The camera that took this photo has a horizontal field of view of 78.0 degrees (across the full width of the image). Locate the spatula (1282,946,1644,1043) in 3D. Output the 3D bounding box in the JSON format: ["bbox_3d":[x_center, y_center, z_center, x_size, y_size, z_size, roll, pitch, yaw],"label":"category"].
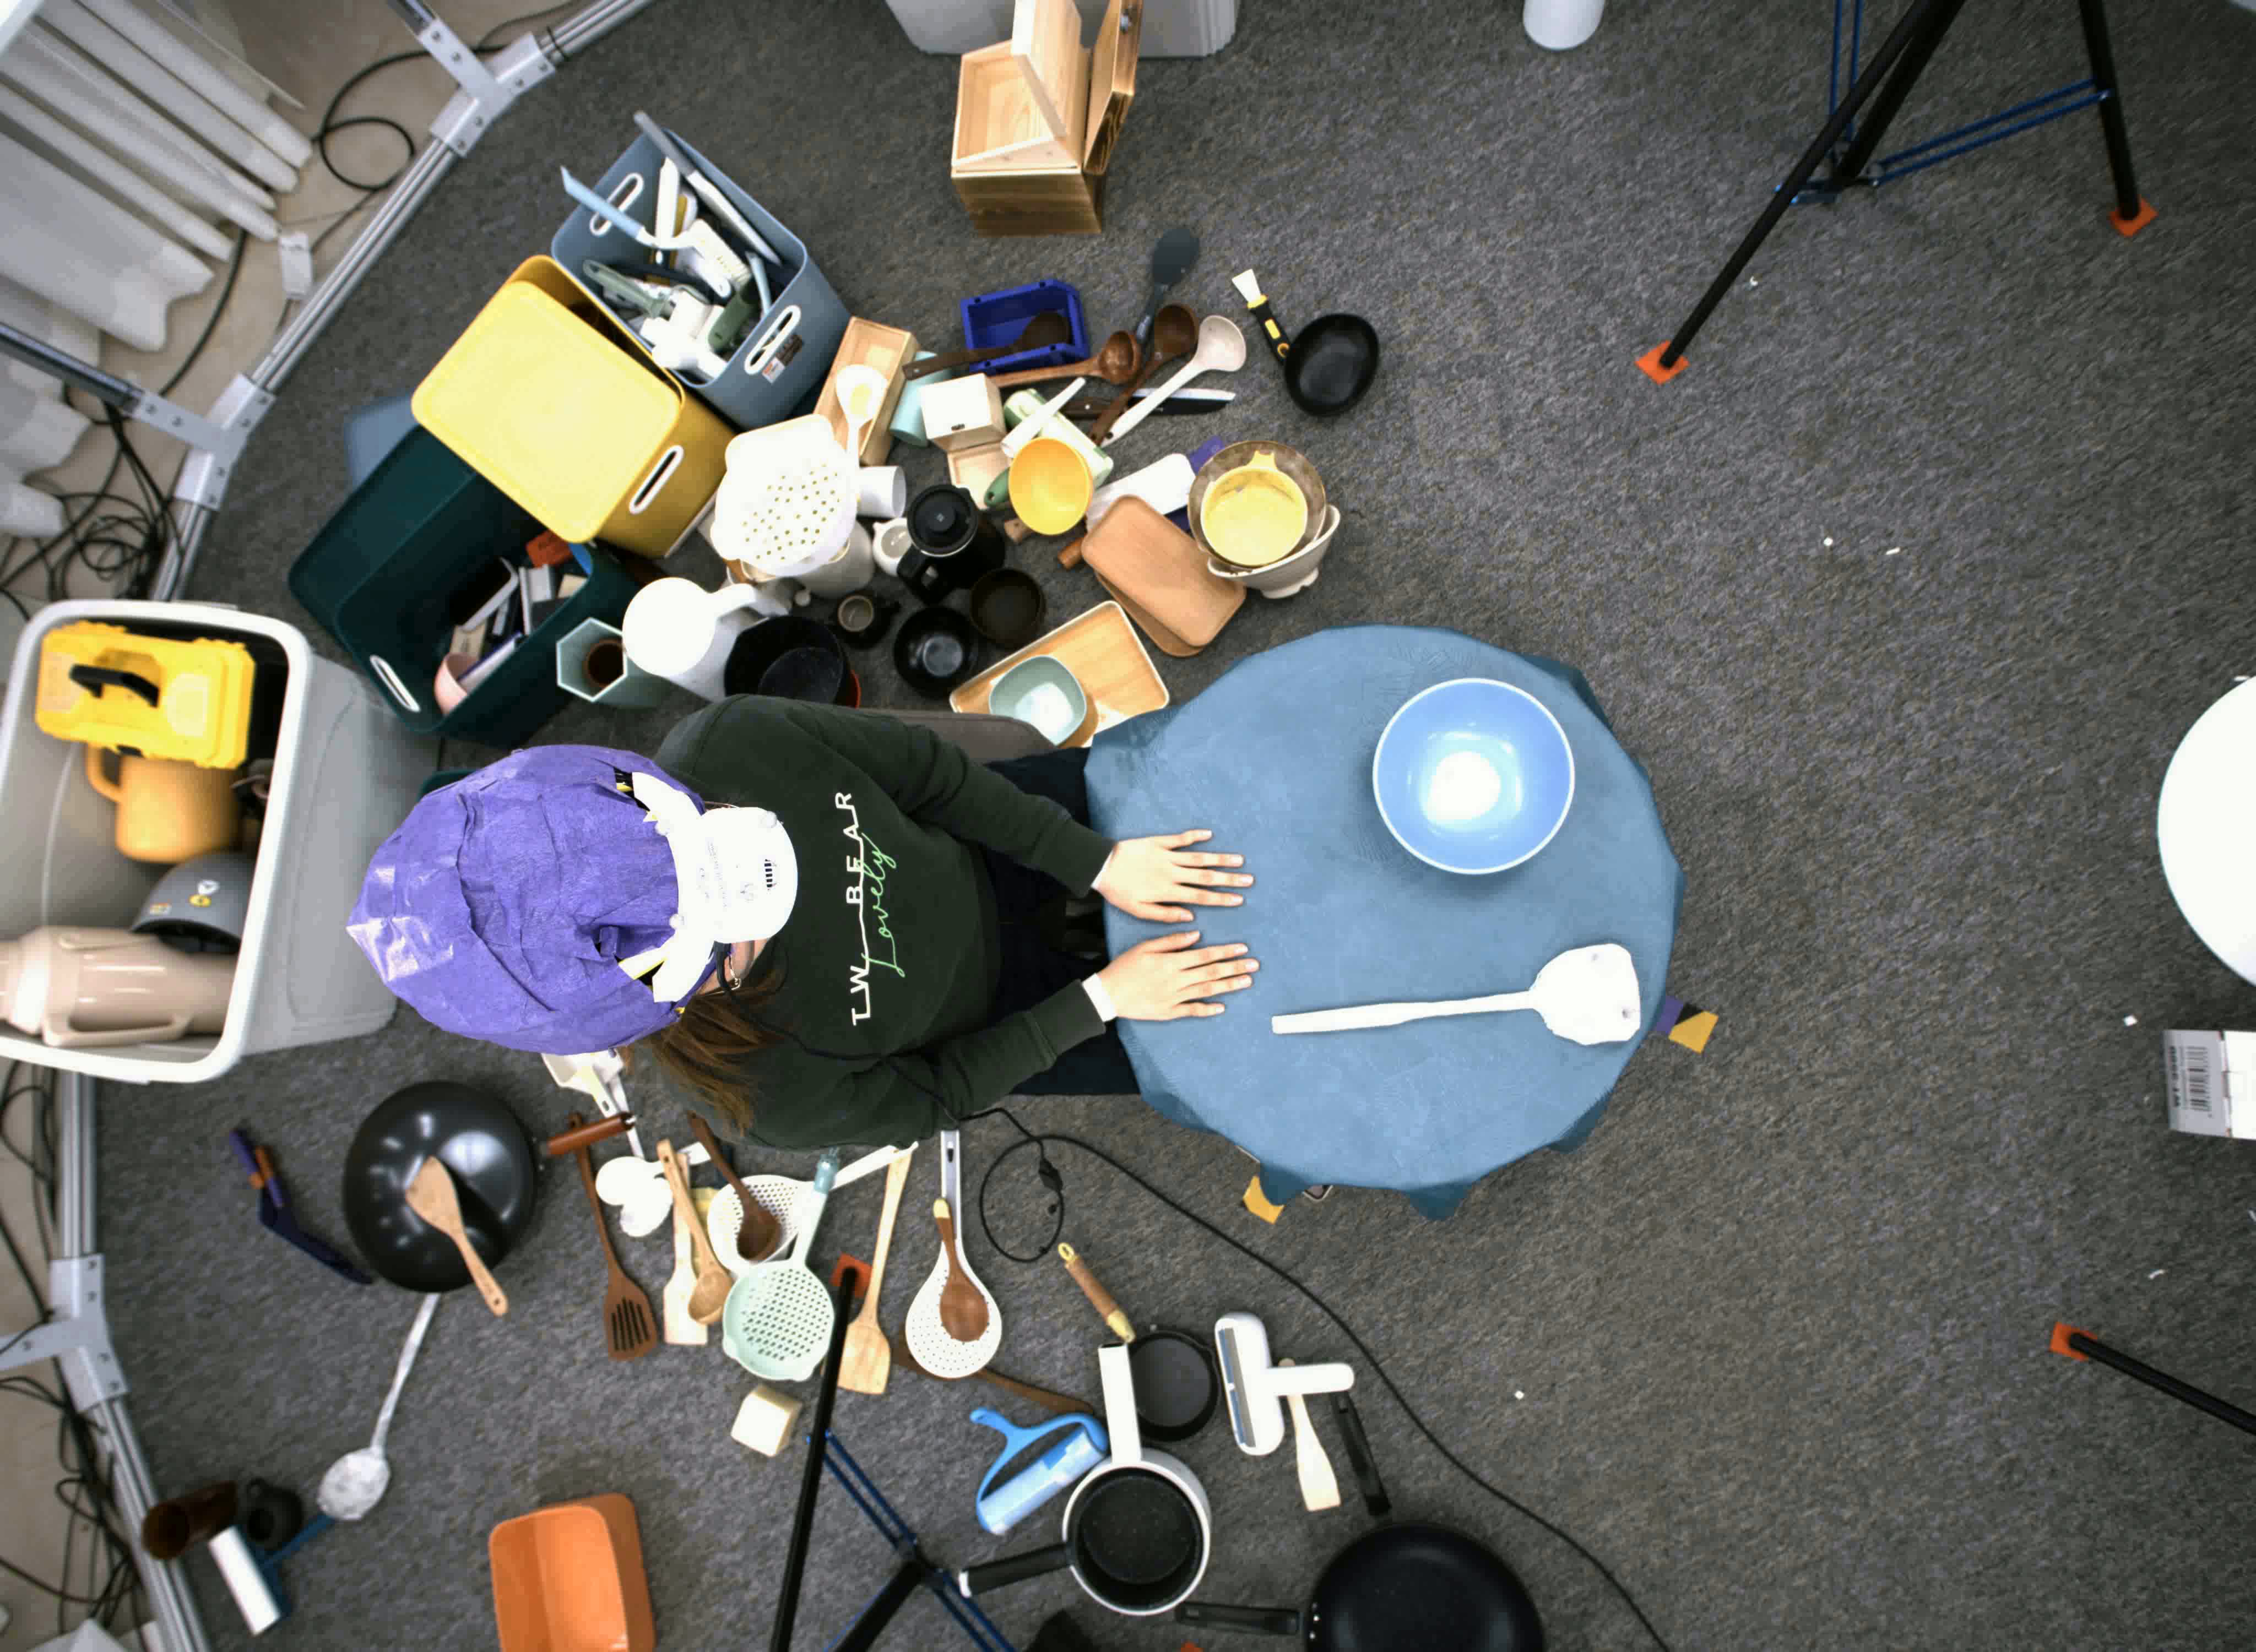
[{"bbox_3d":[0.340,0.184,1.425,0.366,0.045,0.098,-6,87,10],"label":"spatula"}]

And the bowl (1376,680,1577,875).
[{"bbox_3d":[0.351,-0.045,1.408,0.197,0.095,0.195,-1,84,8],"label":"bowl"}]
